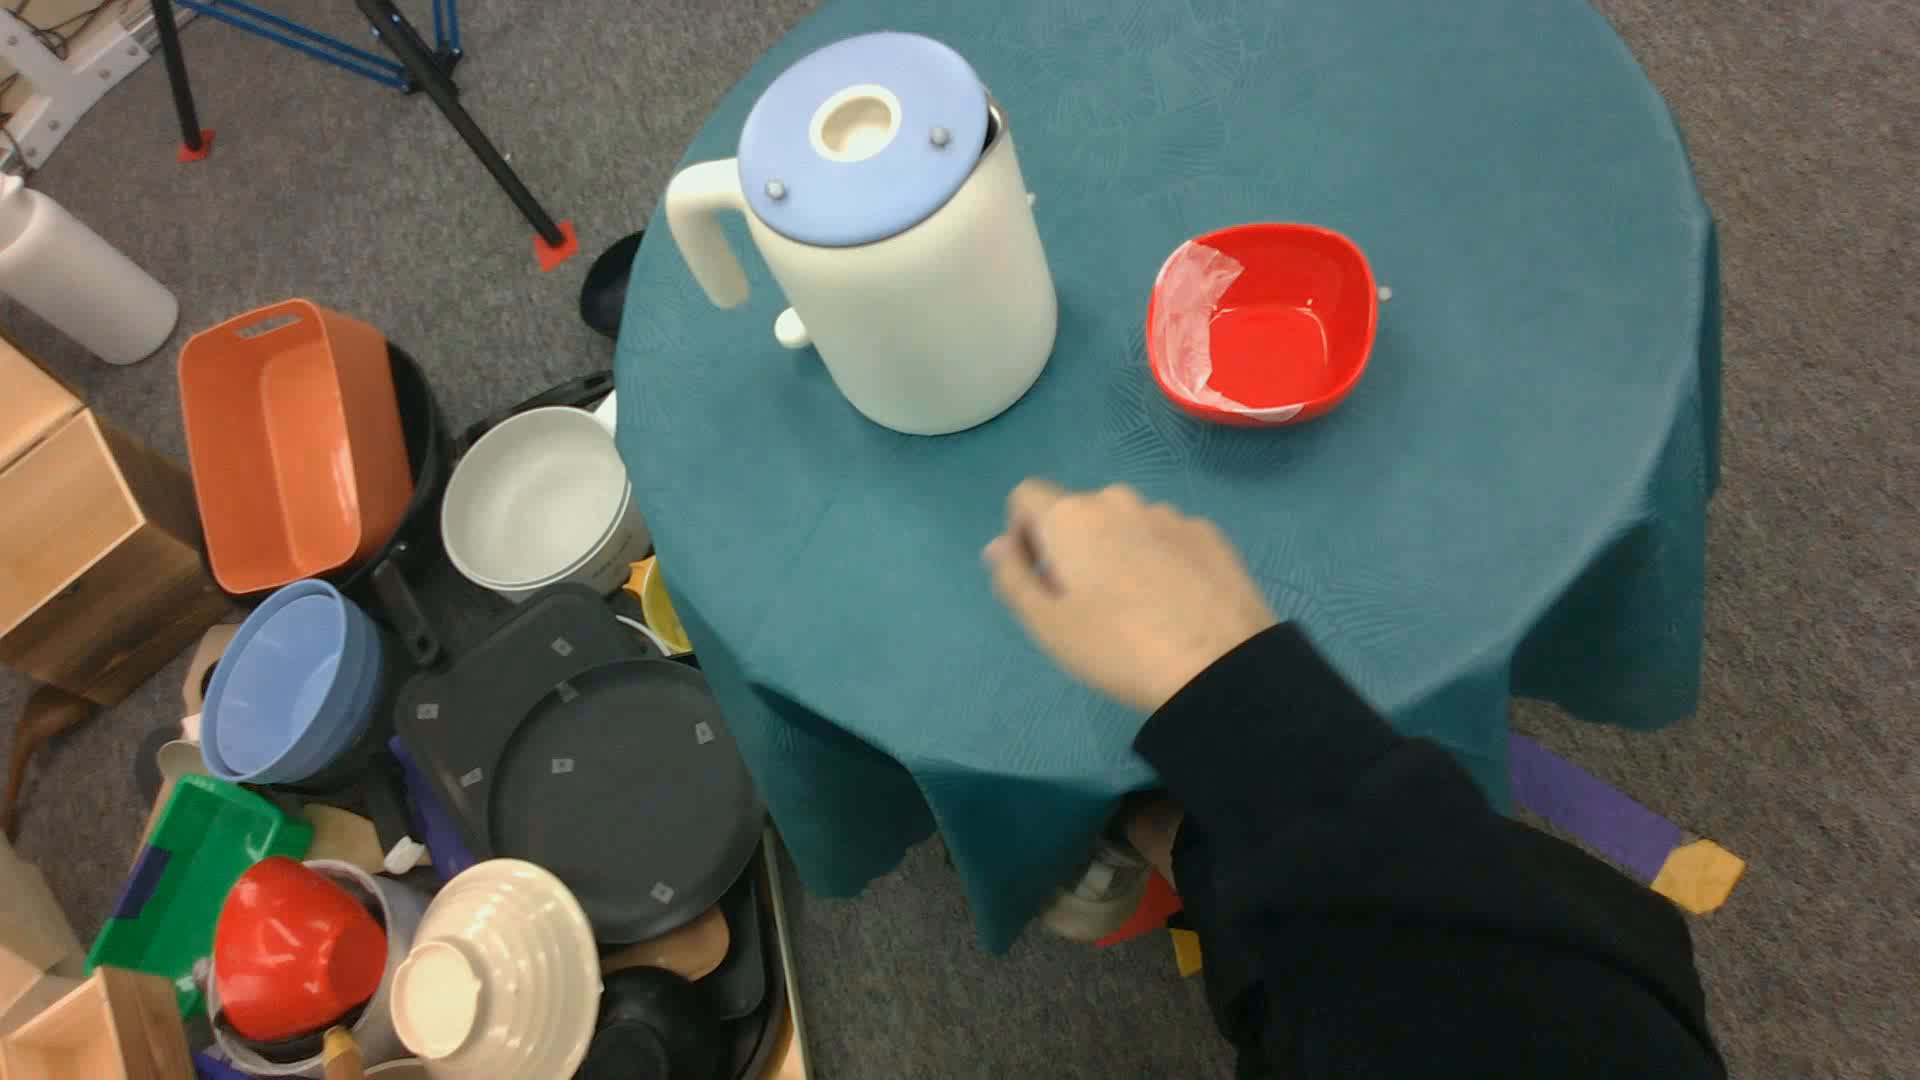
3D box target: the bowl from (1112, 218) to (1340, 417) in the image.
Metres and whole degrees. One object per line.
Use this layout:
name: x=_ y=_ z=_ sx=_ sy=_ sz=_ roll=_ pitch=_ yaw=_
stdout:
bowl: x=0.134 y=-0.104 z=0.695 sx=0.119 sy=0.051 sz=0.119 roll=-4 pitch=62 yaw=9

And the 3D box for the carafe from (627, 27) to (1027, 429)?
carafe: x=-0.067 y=-0.149 z=0.698 sx=0.191 sy=0.182 sz=0.133 roll=-4 pitch=63 yaw=14
